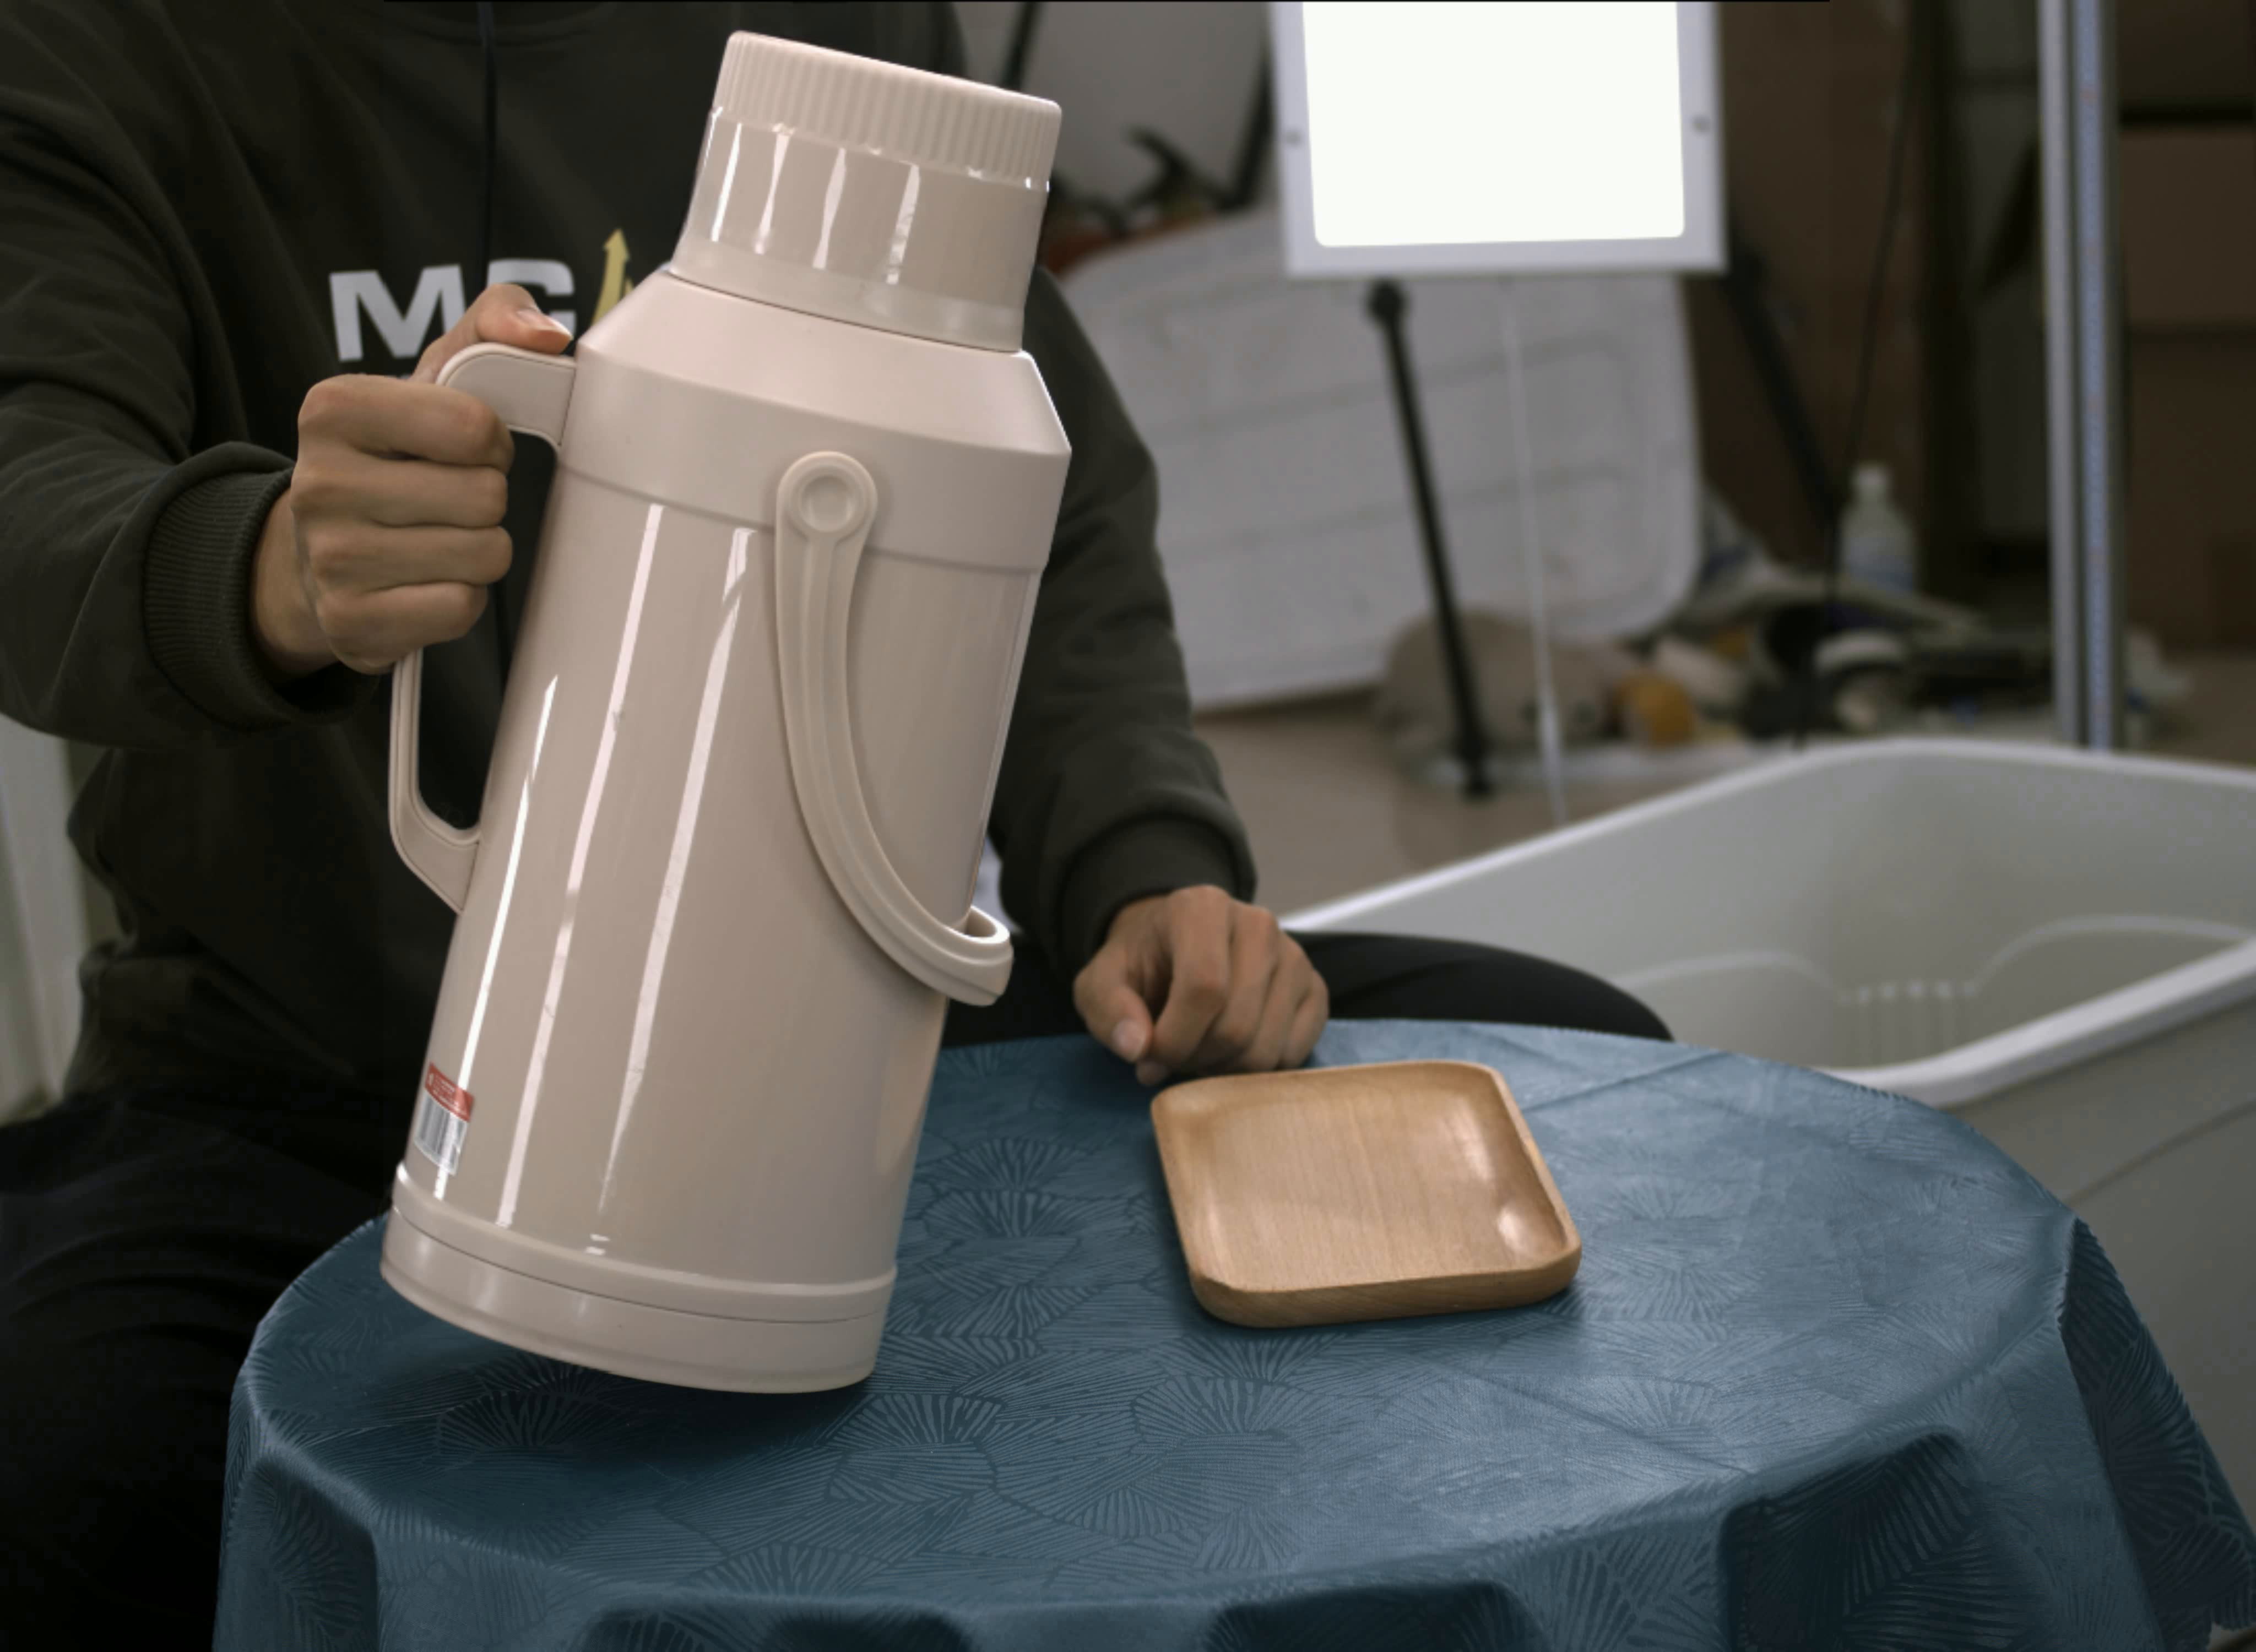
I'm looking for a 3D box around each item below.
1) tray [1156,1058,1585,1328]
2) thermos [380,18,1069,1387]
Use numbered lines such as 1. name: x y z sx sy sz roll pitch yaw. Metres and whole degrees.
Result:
1. tray: 0.079 0.122 1.858 0.130 0.023 0.250 -3 13 -1
2. thermos: -0.129 -0.042 1.707 0.205 0.408 0.176 12 9 -8
